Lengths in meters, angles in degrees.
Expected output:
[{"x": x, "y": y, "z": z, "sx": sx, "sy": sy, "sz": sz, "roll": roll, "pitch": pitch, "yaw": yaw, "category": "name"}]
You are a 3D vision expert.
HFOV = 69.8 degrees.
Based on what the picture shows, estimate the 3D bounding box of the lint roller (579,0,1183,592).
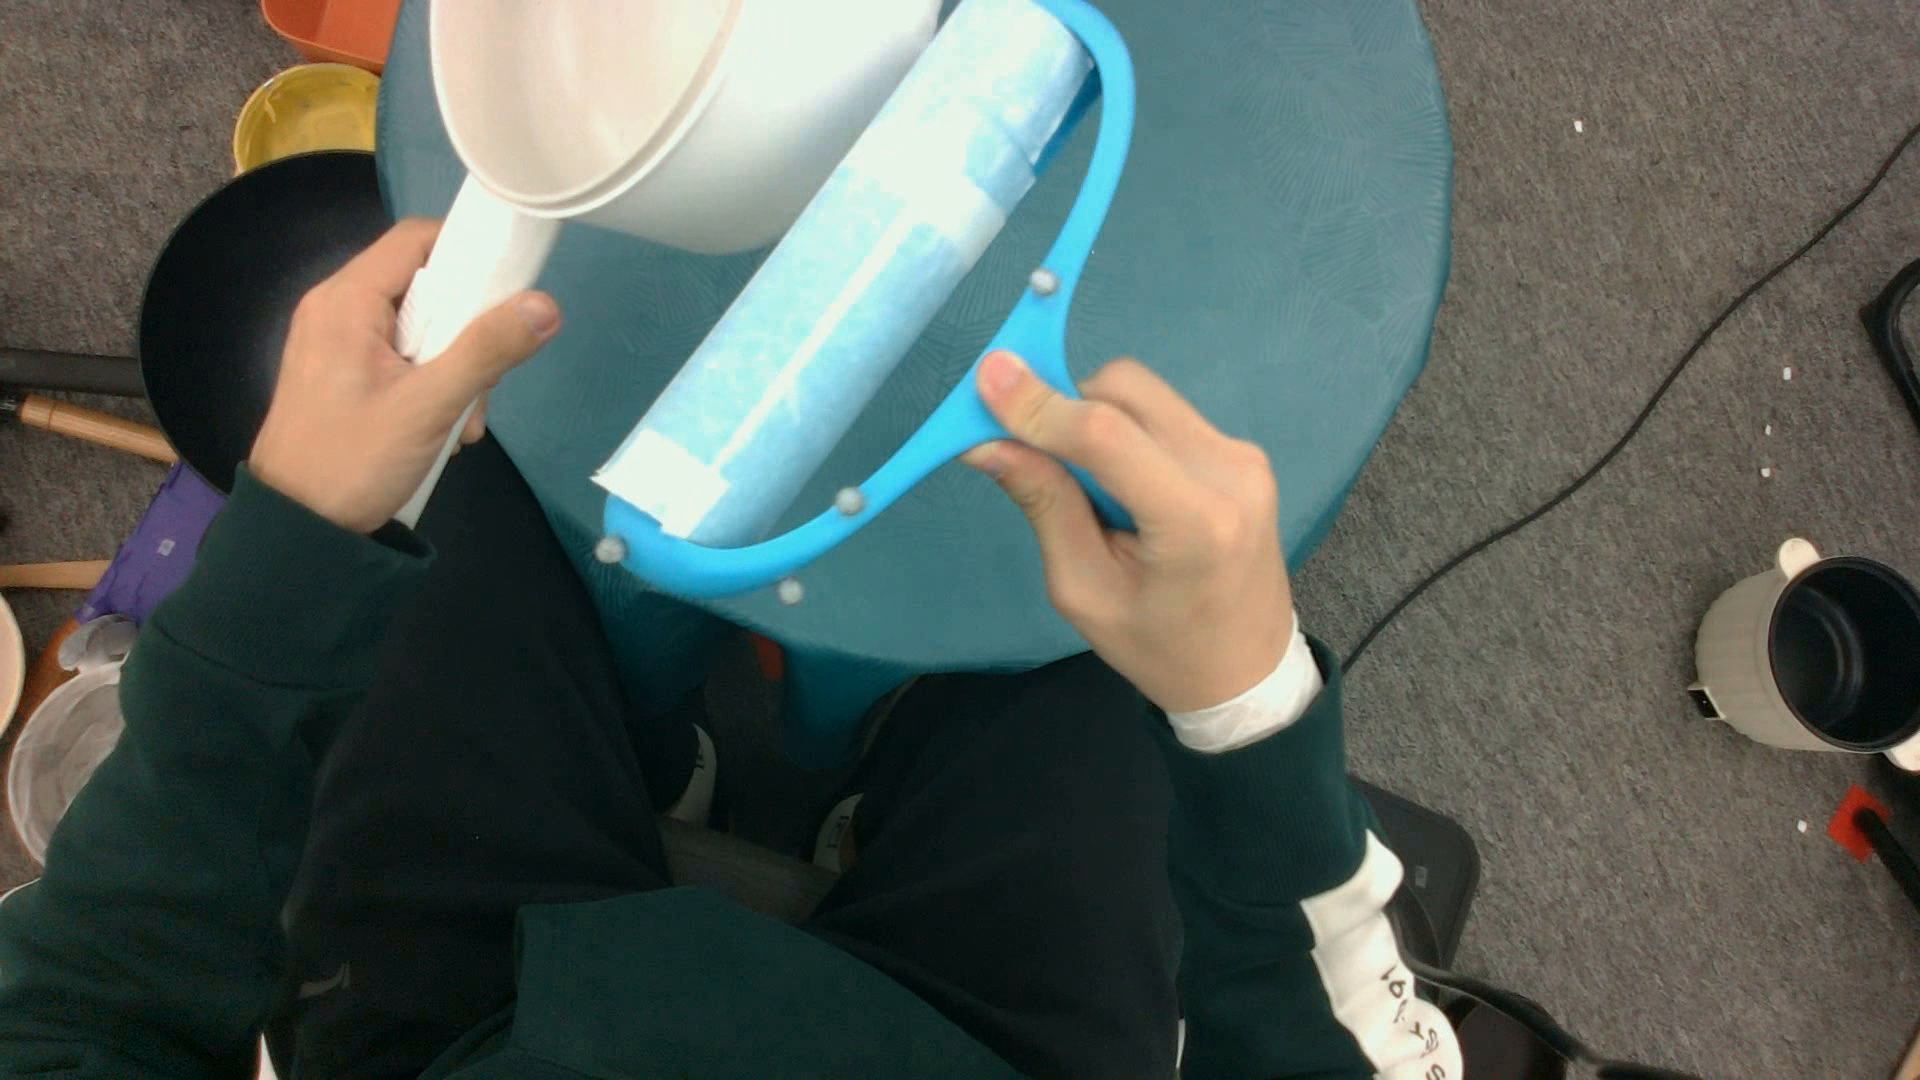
[{"x": 0.007, "y": -0.053, "z": 0.446, "sx": 0.180, "sy": 0.068, "sz": 0.229, "roll": 33, "pitch": 83, "yaw": -7, "category": "lint roller"}]

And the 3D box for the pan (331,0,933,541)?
[{"x": -0.139, "y": -0.149, "z": 0.540, "sx": 0.201, "sy": 0.102, "sz": 0.353, "roll": 44, "pitch": 115, "yaw": 30, "category": "pan"}]
